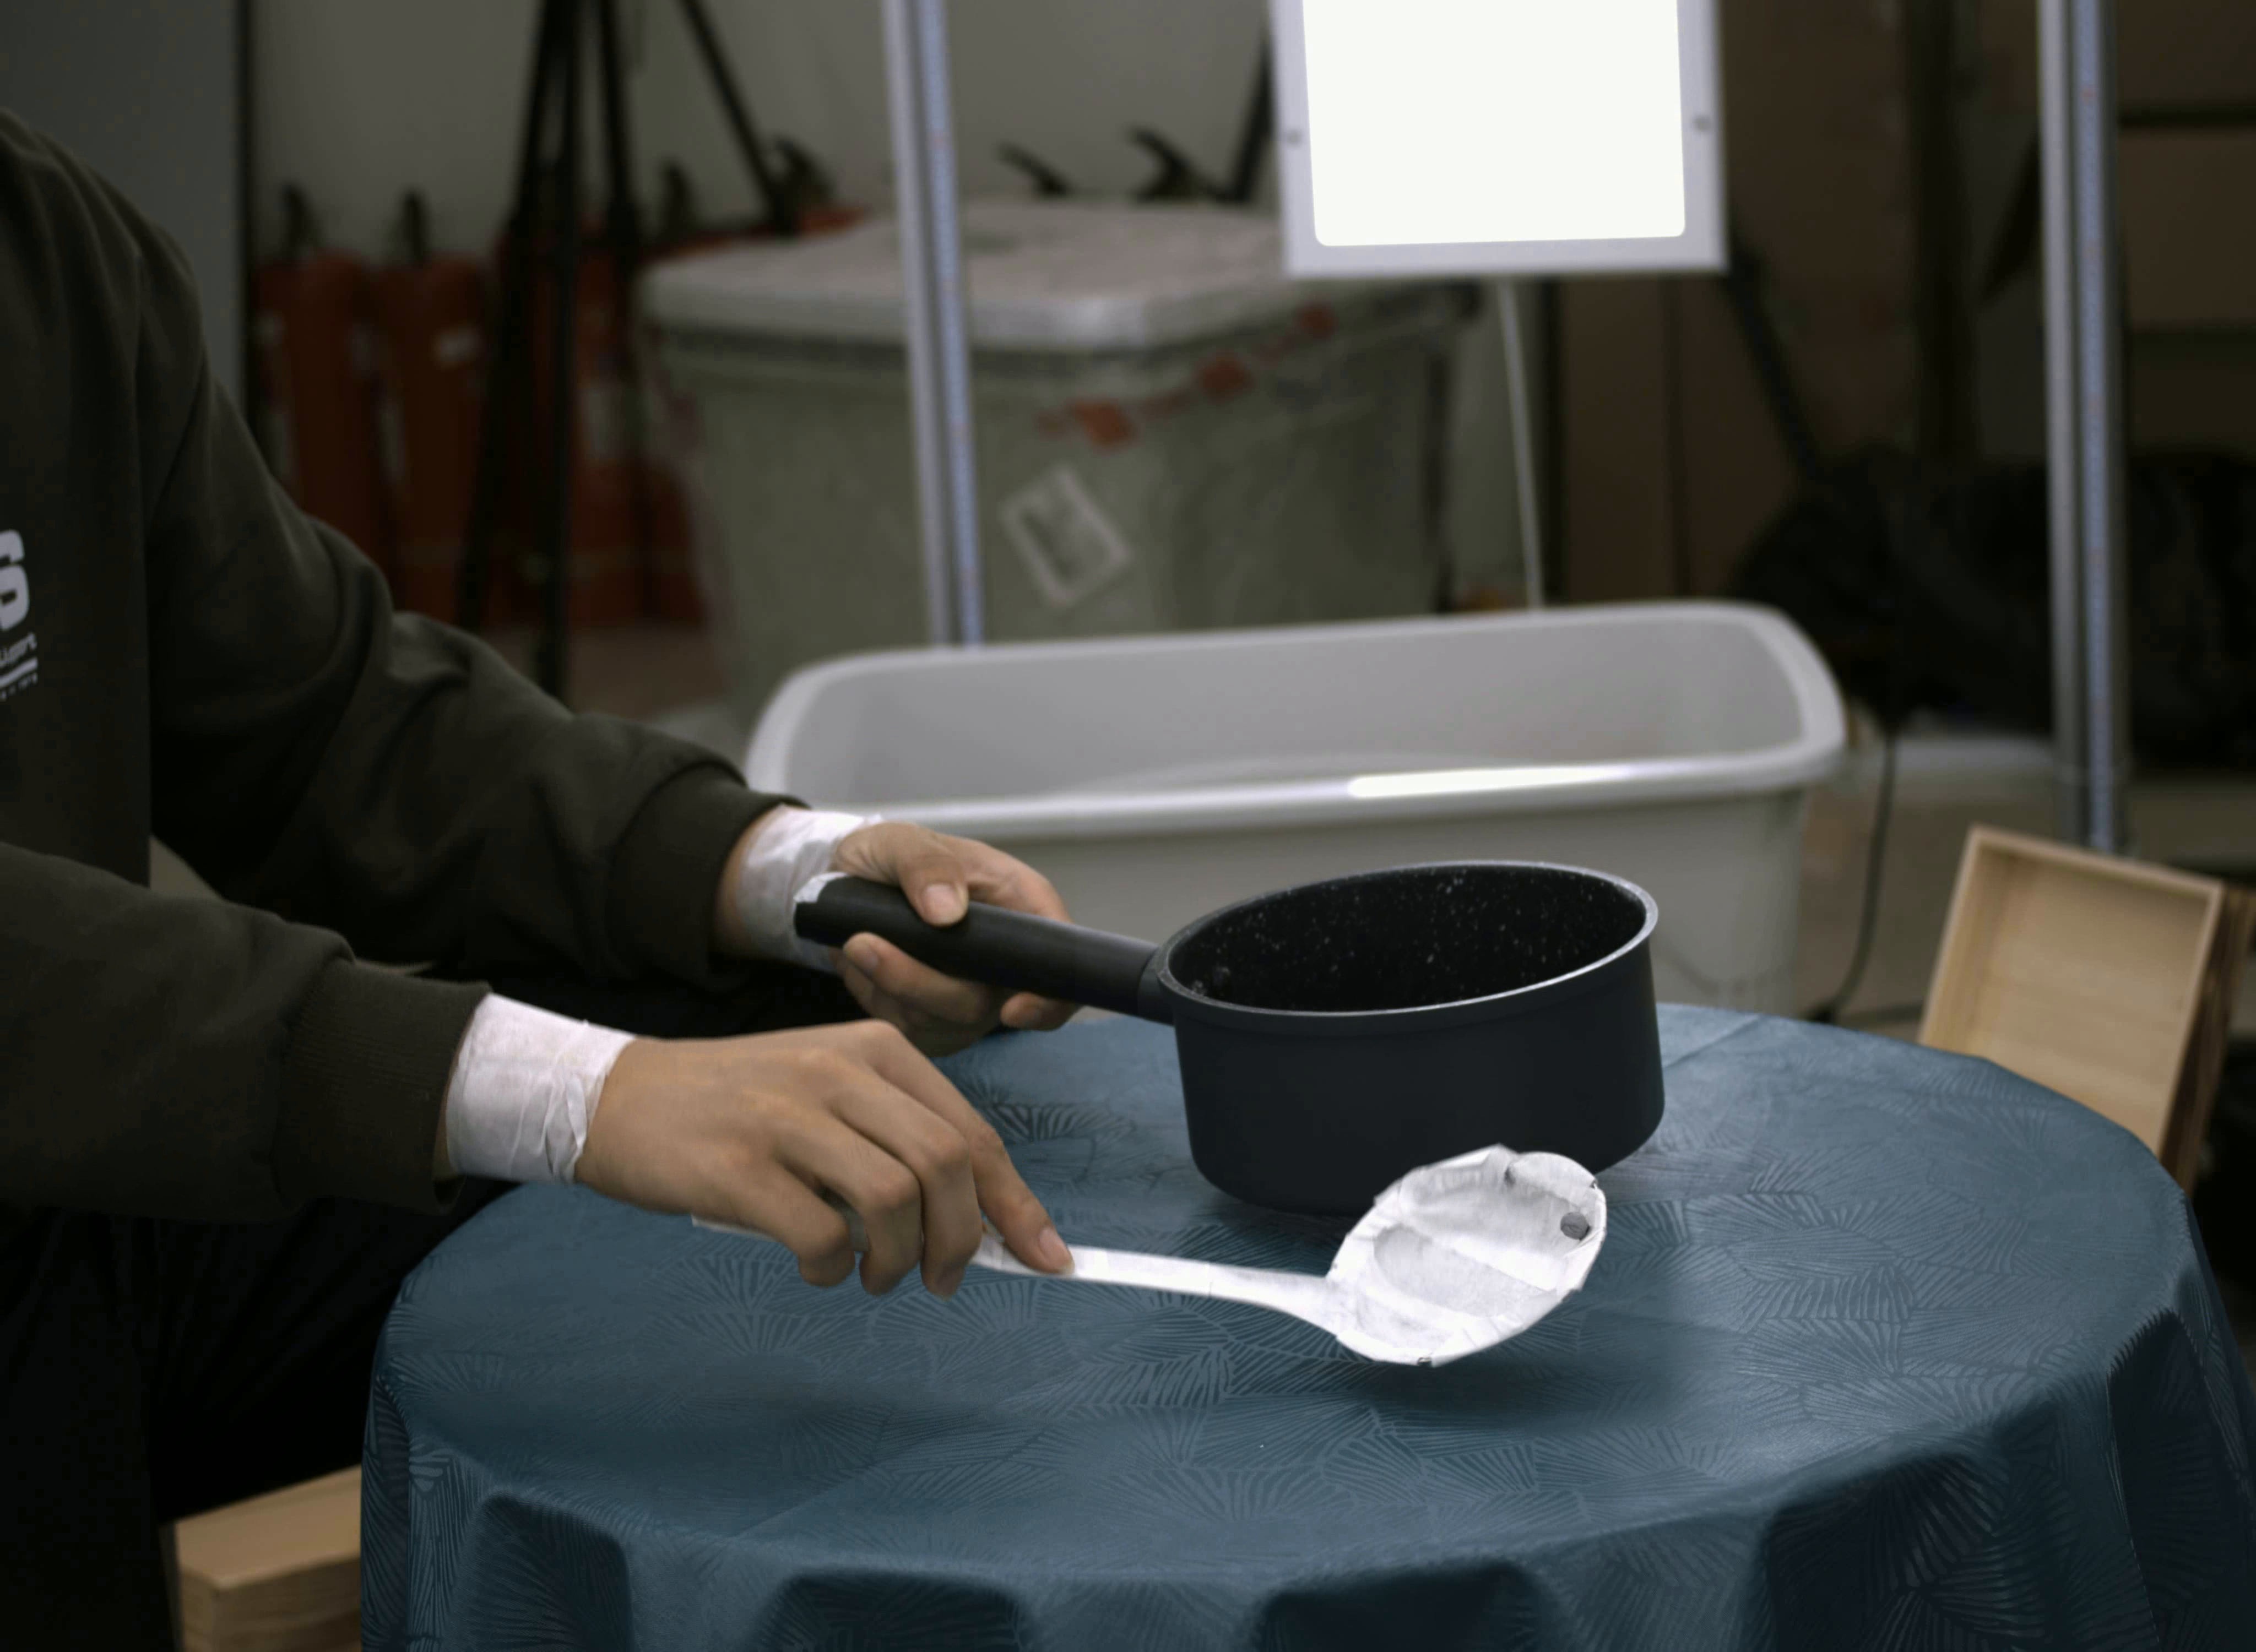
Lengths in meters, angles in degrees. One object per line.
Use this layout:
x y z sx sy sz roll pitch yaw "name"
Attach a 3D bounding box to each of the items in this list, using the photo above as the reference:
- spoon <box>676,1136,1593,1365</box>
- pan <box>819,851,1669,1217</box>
0.002 0.114 1.689 0.276 0.060 0.100 10 30 -1 "spoon"
0.033 0.065 1.915 0.335 0.087 0.168 4 18 35 "pan"
